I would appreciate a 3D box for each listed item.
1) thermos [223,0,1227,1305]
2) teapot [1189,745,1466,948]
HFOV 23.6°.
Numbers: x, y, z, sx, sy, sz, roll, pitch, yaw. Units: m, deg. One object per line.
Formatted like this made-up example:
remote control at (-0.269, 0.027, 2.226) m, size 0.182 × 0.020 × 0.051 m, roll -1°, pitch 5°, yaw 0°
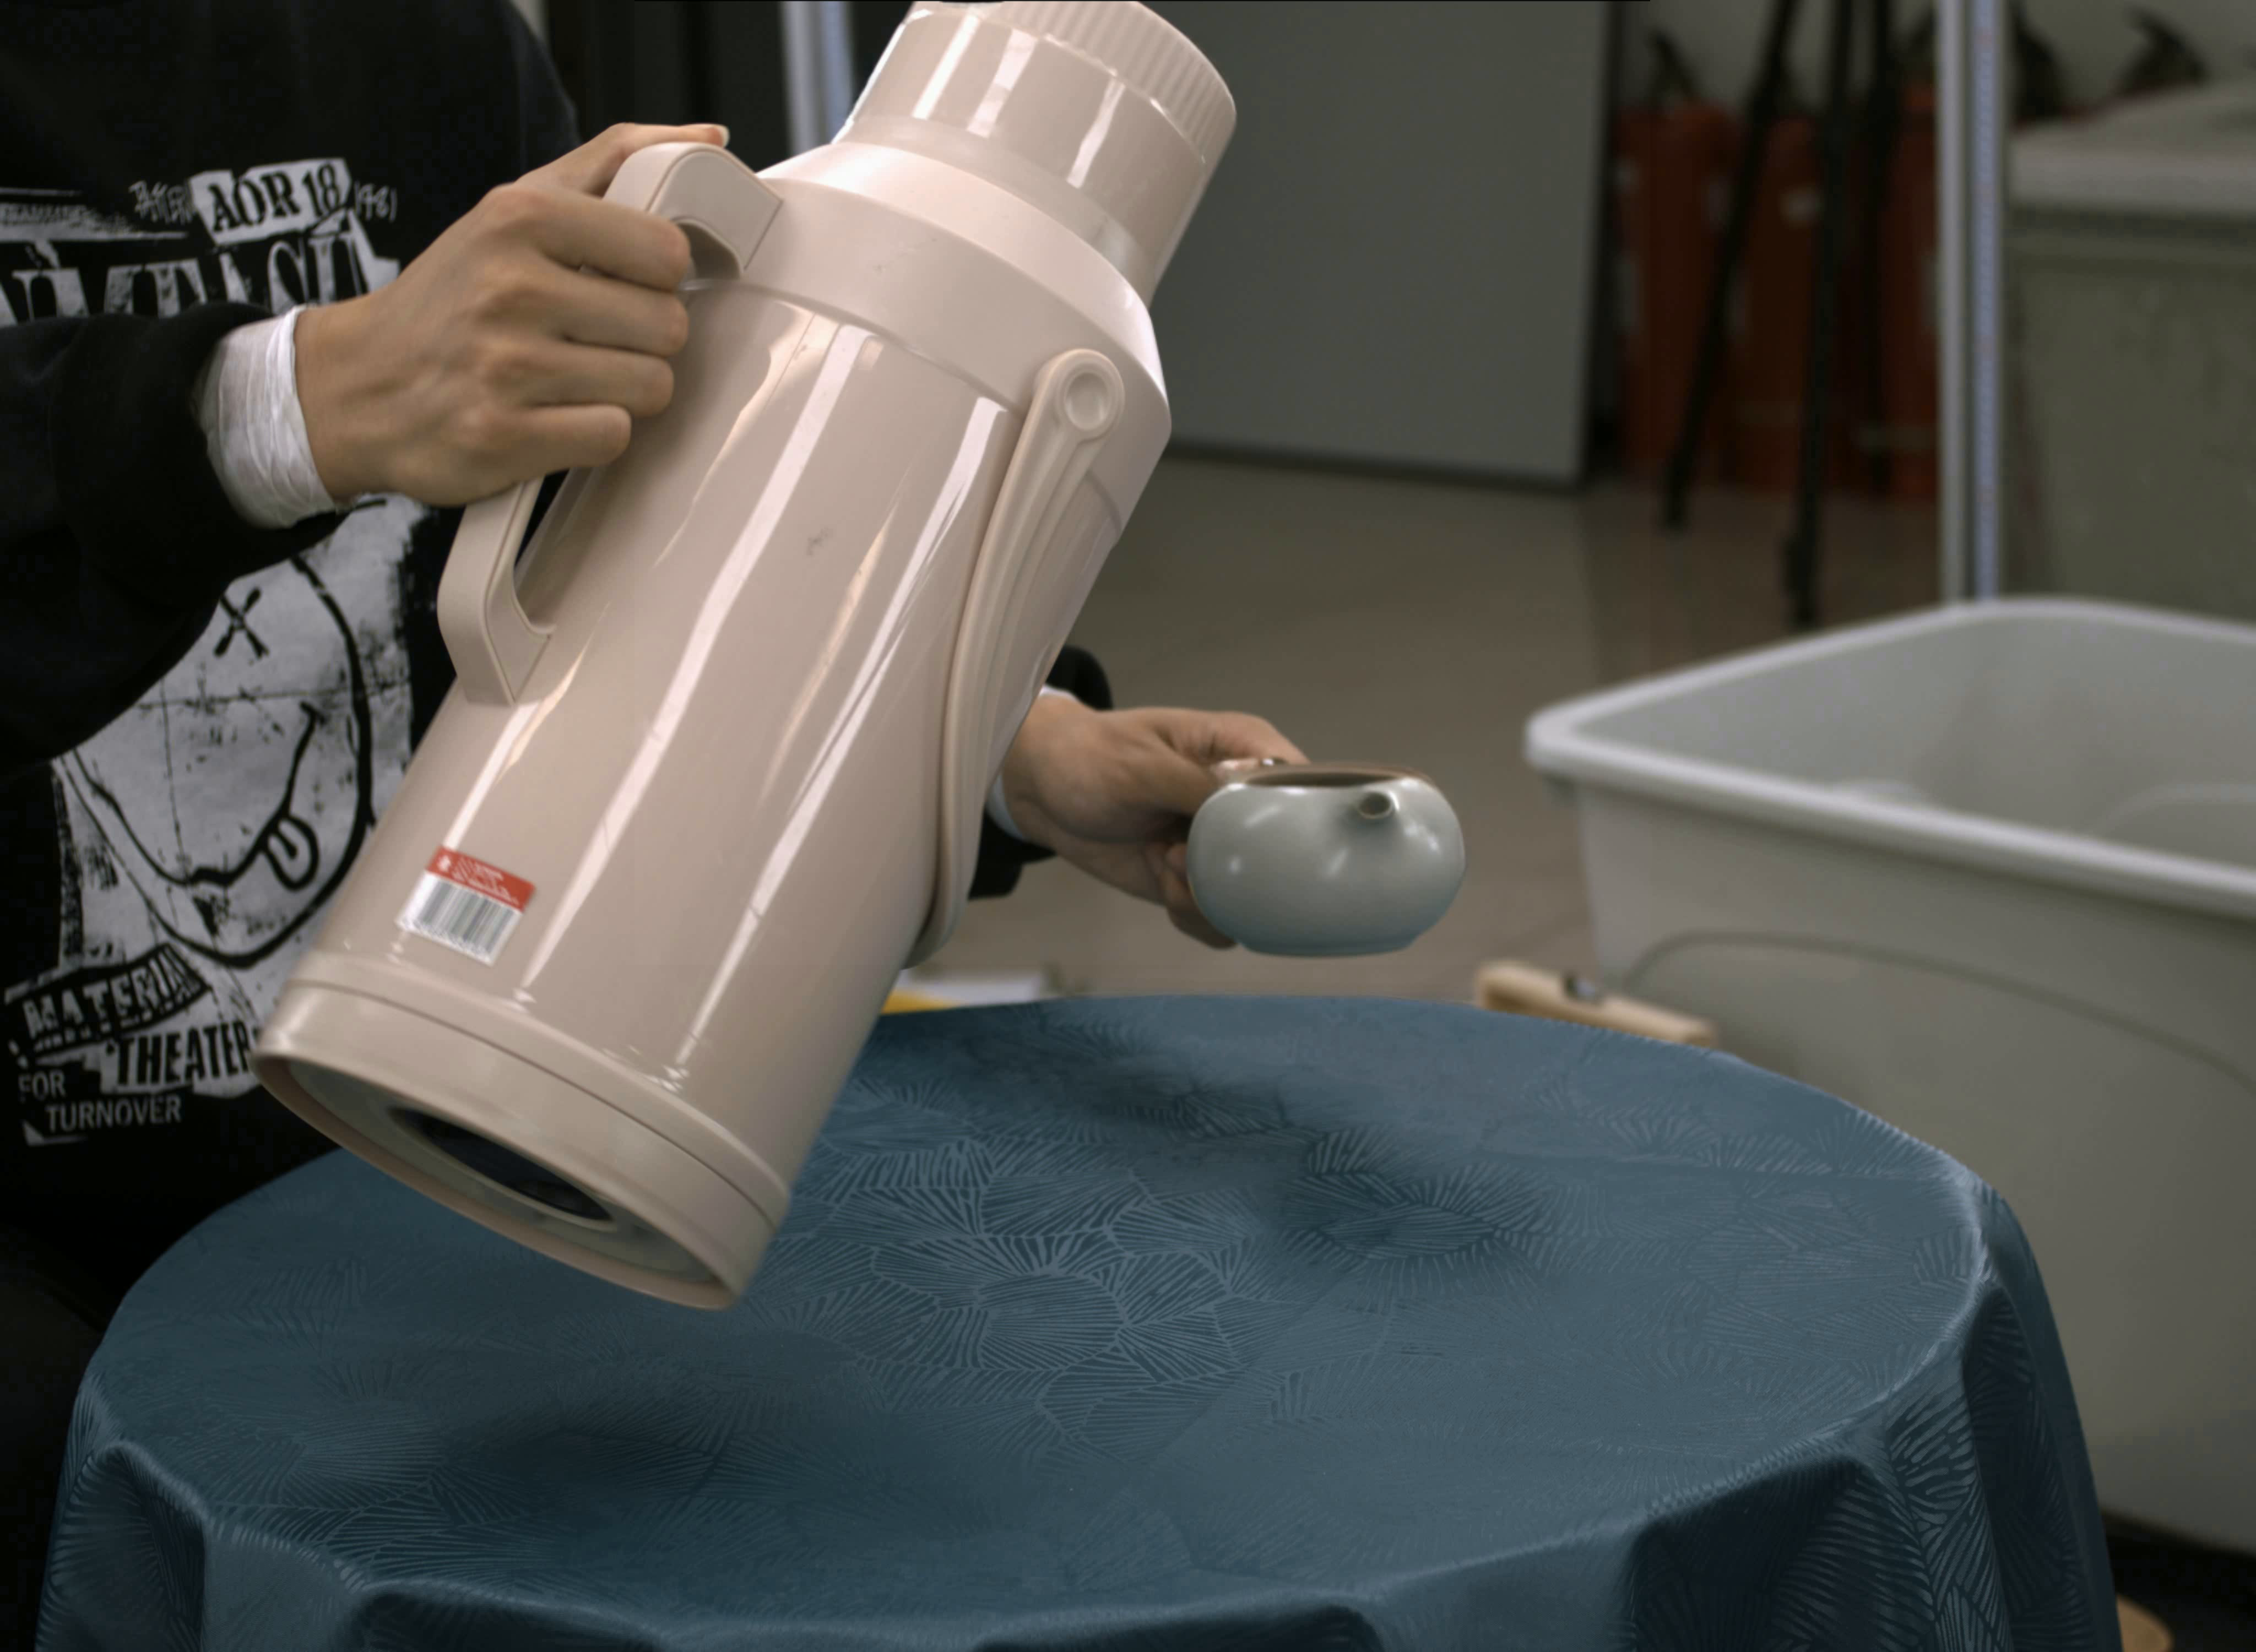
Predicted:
thermos at (-0.112, -0.079, 1.590) m, size 0.177 × 0.407 × 0.204 m, roll 8°, pitch -25°, yaw 50°
teapot at (0.062, 0.005, 1.771) m, size 0.090 × 0.060 × 0.129 m, roll -8°, pitch 9°, yaw -19°
